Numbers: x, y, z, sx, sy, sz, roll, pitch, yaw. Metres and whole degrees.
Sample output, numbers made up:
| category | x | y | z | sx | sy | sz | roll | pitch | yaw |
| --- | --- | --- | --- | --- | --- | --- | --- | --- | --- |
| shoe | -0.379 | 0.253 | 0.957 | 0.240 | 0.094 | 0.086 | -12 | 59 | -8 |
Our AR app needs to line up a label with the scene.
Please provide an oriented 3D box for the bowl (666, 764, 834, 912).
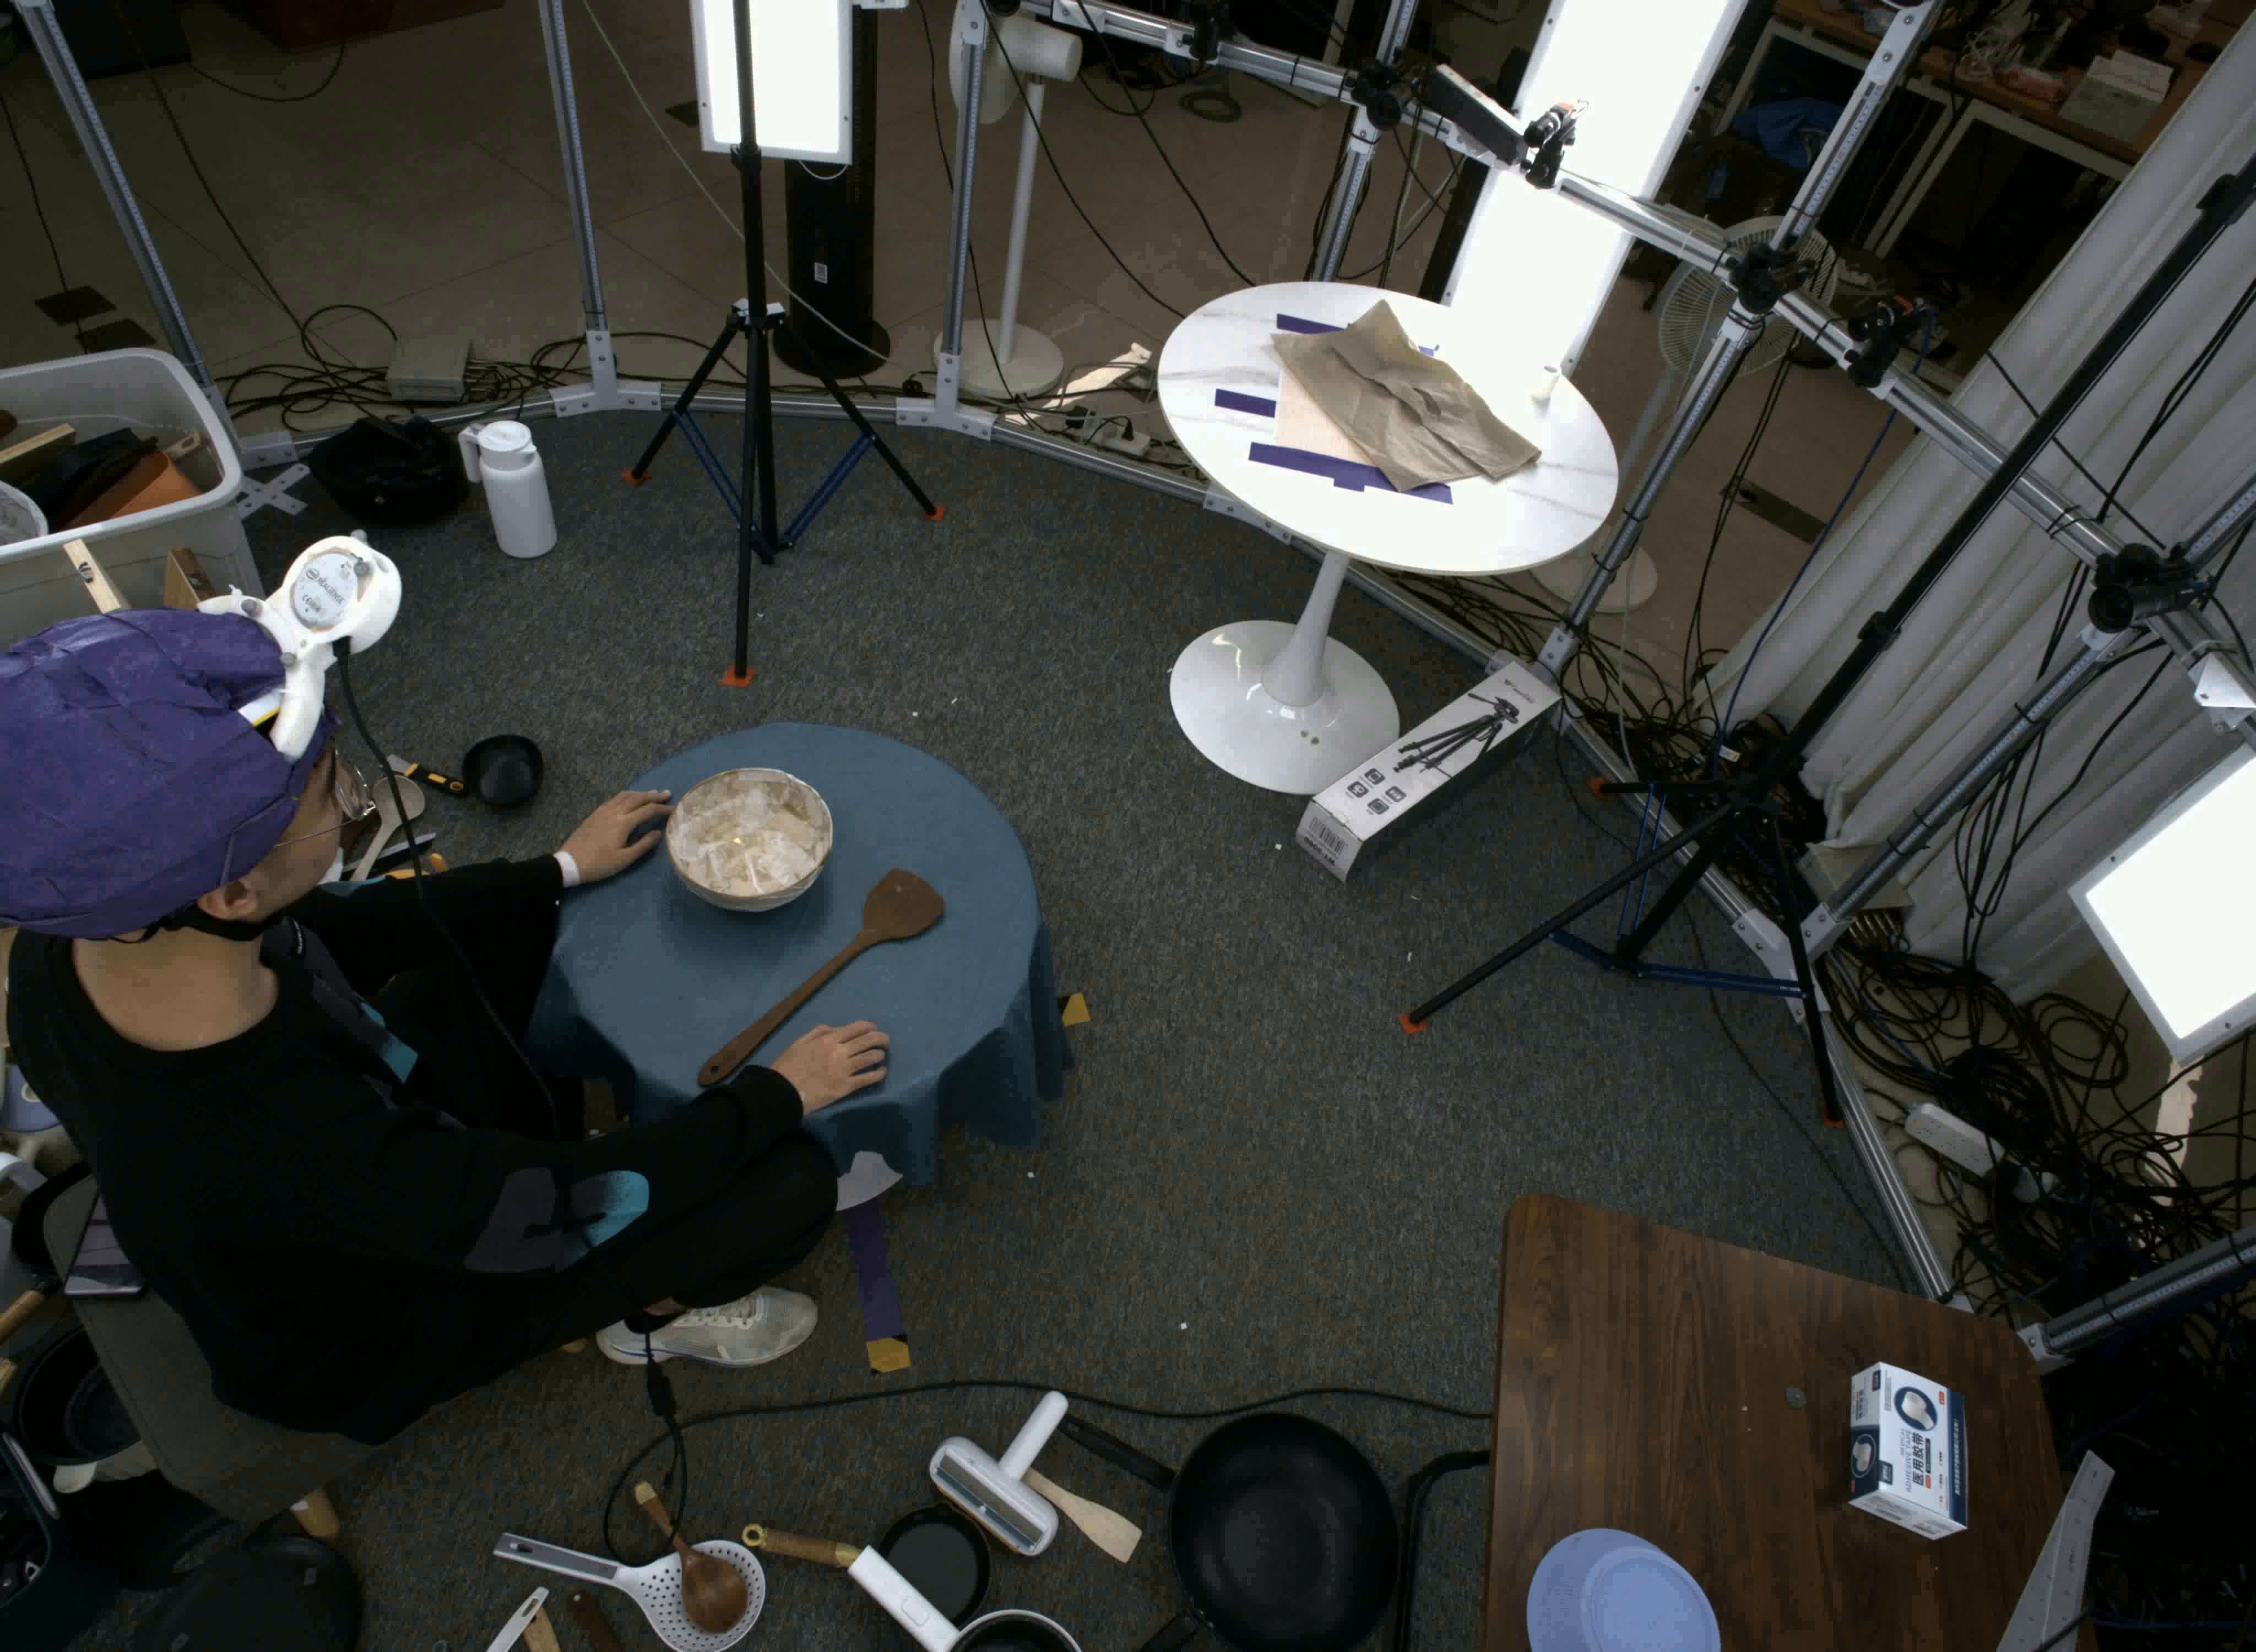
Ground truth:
| category | x | y | z | sx | sy | sz | roll | pitch | yaw |
| --- | --- | --- | --- | --- | --- | --- | --- | --- | --- |
| bowl | -0.477 | 0.030 | 1.633 | 0.214 | 0.096 | 0.211 | 8 | 54 | -9 |

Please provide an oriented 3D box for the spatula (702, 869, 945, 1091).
| category | x | y | z | sx | sy | sz | roll | pitch | yaw |
| --- | --- | --- | --- | --- | --- | --- | --- | --- | --- |
| spatula | -0.377 | 0.185 | 1.594 | 0.094 | 0.016 | 0.386 | 36 | 54 | 13 |
